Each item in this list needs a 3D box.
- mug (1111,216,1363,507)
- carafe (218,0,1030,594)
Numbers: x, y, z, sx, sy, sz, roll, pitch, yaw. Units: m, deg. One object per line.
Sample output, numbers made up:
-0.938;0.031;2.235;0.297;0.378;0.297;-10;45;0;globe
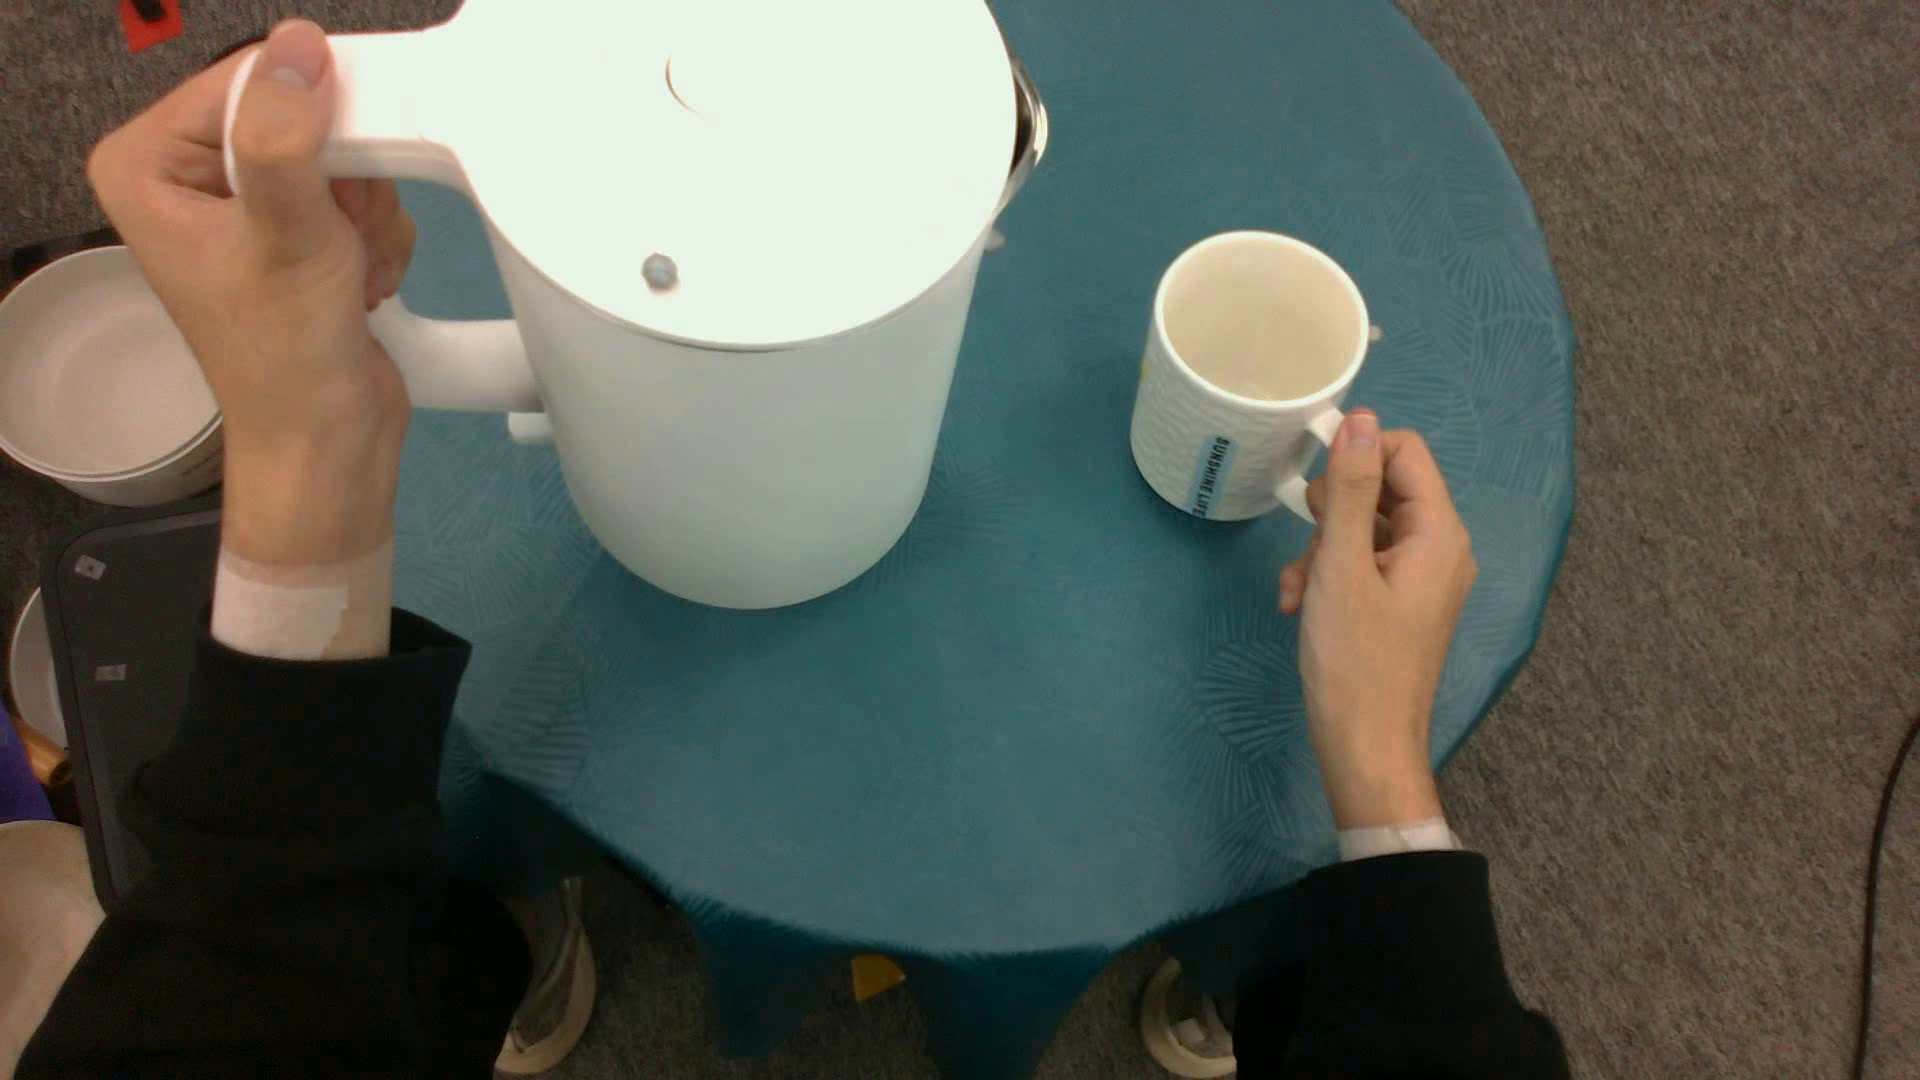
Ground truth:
0.122;-0.063;0.593;0.085;0.101;0.118;-32;68;-17;mug
-0.103;-0.086;0.459;0.213;0.239;0.152;-1;71;-11;carafe
